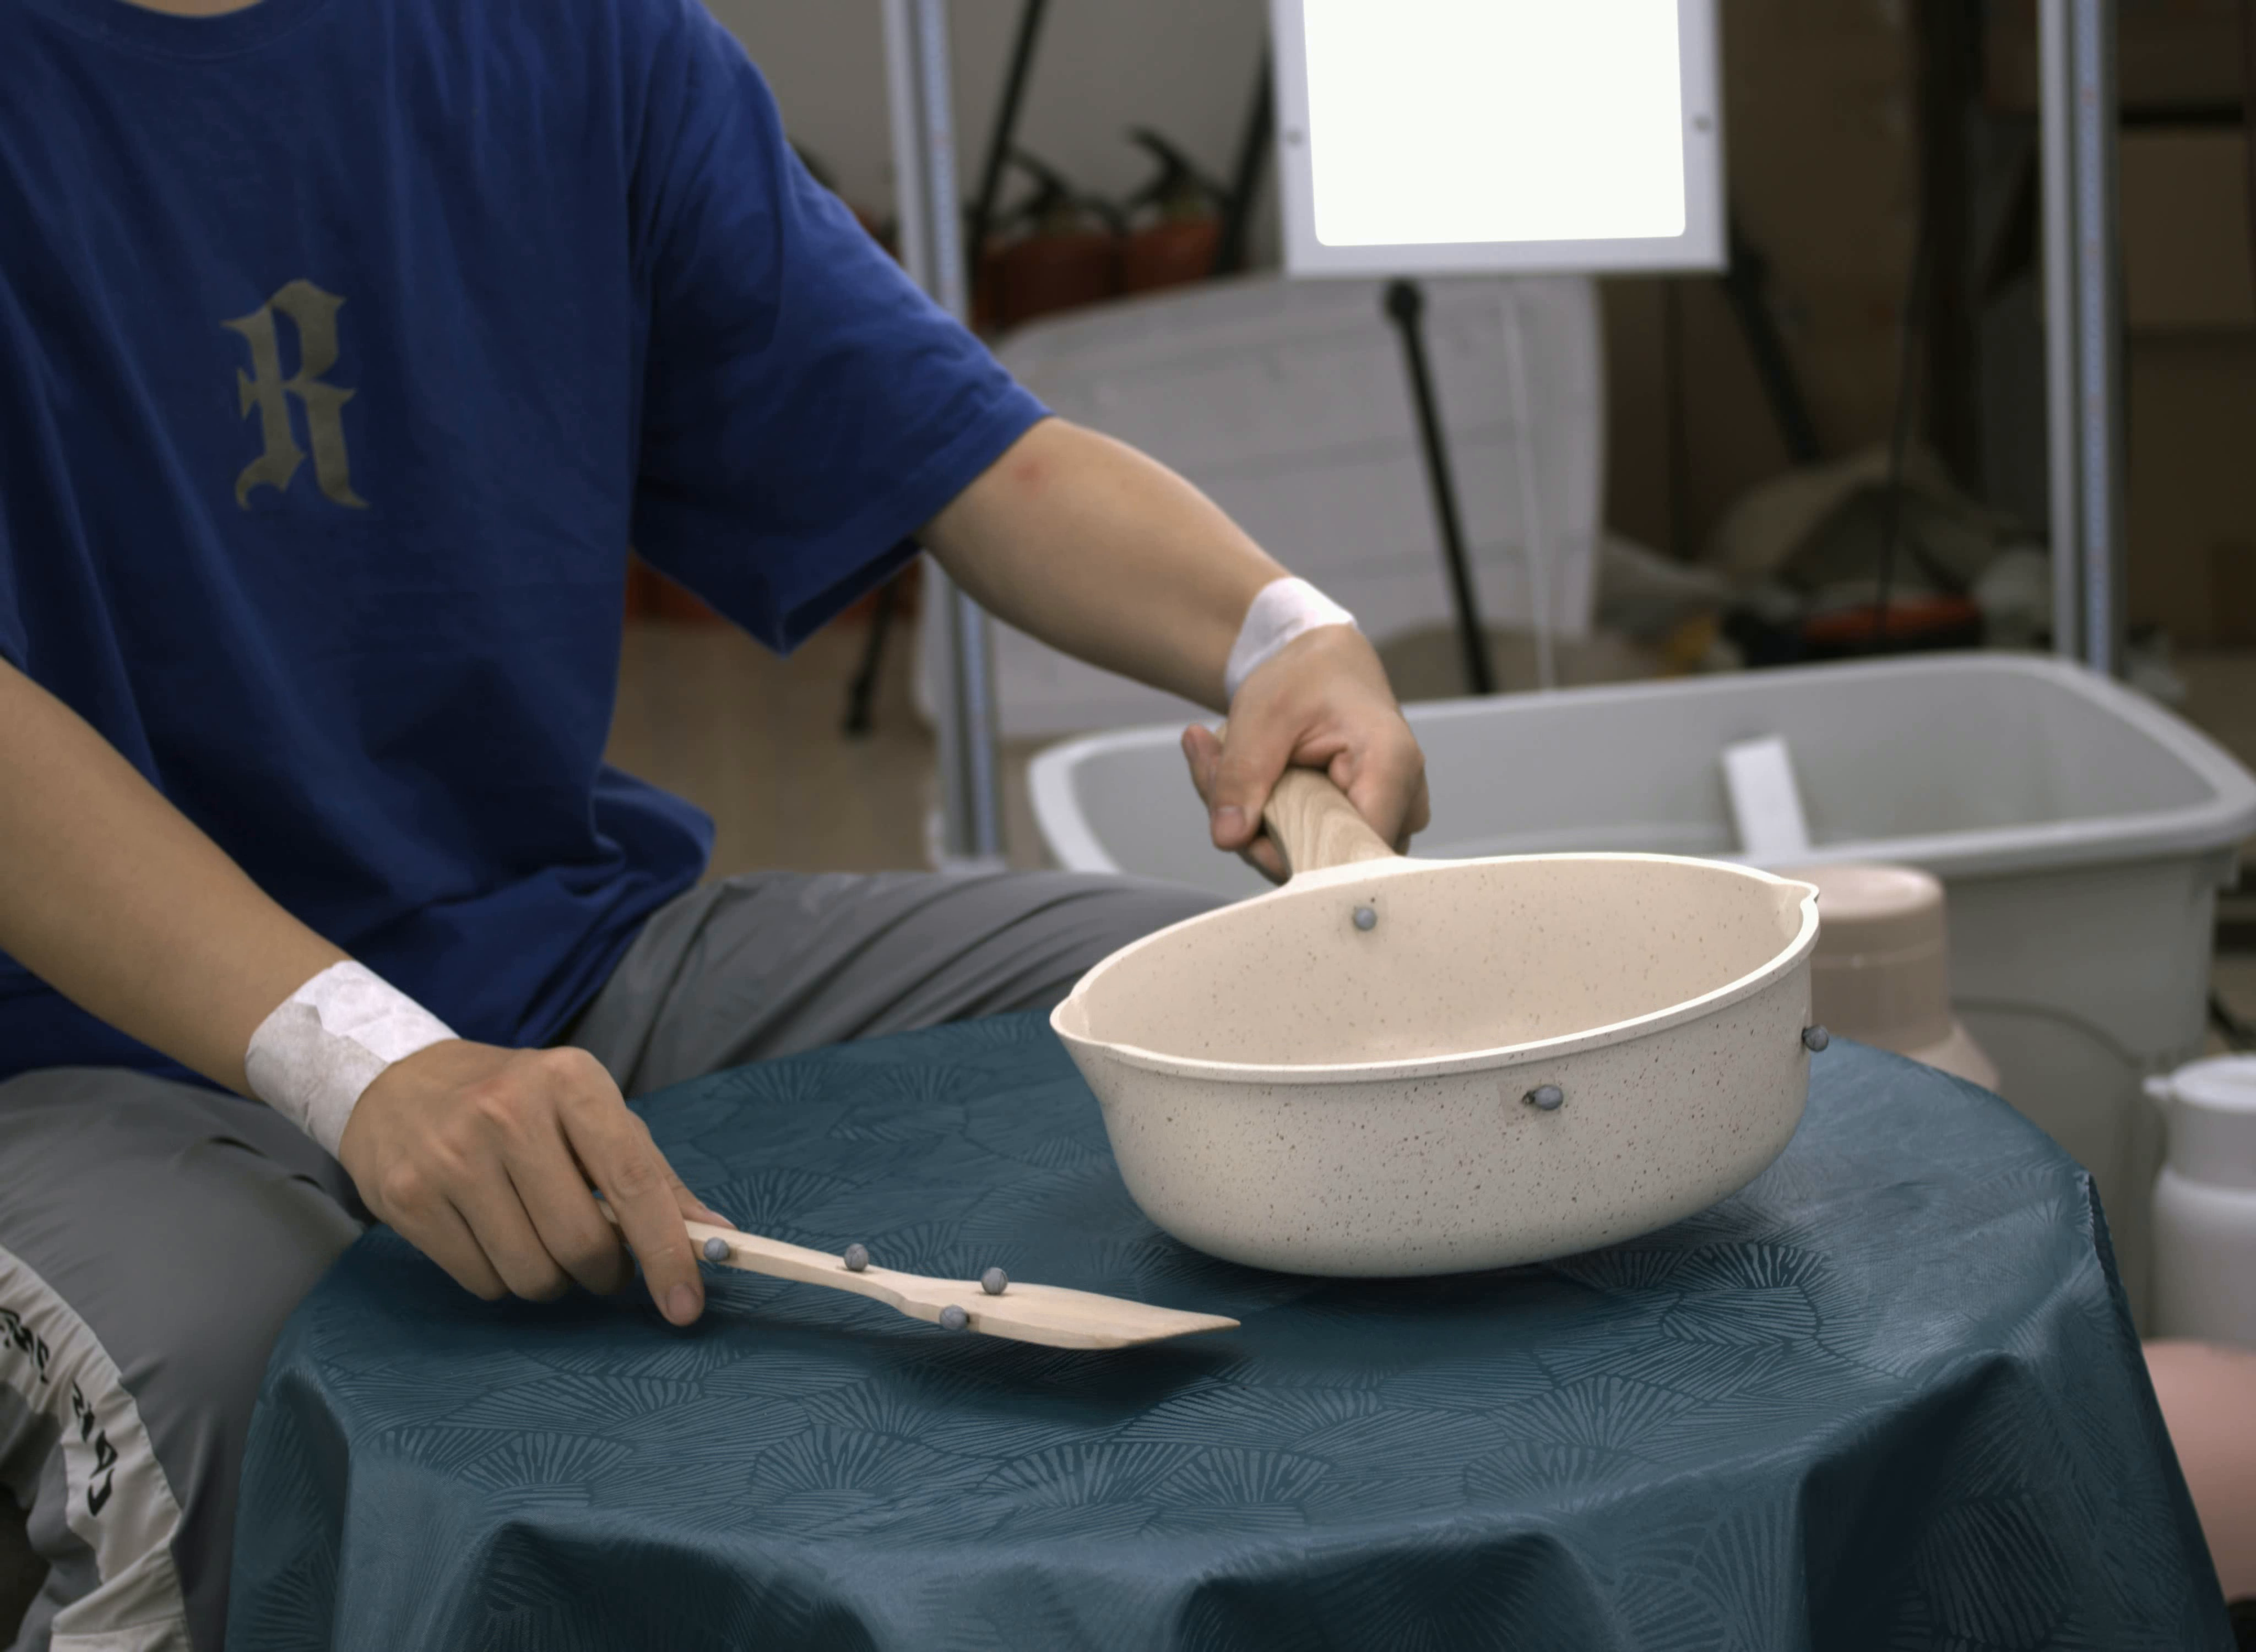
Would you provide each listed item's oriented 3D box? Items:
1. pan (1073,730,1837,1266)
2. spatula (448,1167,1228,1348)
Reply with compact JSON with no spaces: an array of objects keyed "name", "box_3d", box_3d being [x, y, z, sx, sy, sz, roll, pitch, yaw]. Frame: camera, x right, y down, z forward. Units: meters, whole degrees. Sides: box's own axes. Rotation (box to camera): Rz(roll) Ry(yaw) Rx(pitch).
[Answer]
[{"name":"pan","box_3d":[0.095,0.052,1.913,0.261,0.102,0.438,-12,13,-9]},{"name":"spatula","box_3d":[-0.105,0.139,1.782,0.299,0.011,0.070,9,7,35]}]
